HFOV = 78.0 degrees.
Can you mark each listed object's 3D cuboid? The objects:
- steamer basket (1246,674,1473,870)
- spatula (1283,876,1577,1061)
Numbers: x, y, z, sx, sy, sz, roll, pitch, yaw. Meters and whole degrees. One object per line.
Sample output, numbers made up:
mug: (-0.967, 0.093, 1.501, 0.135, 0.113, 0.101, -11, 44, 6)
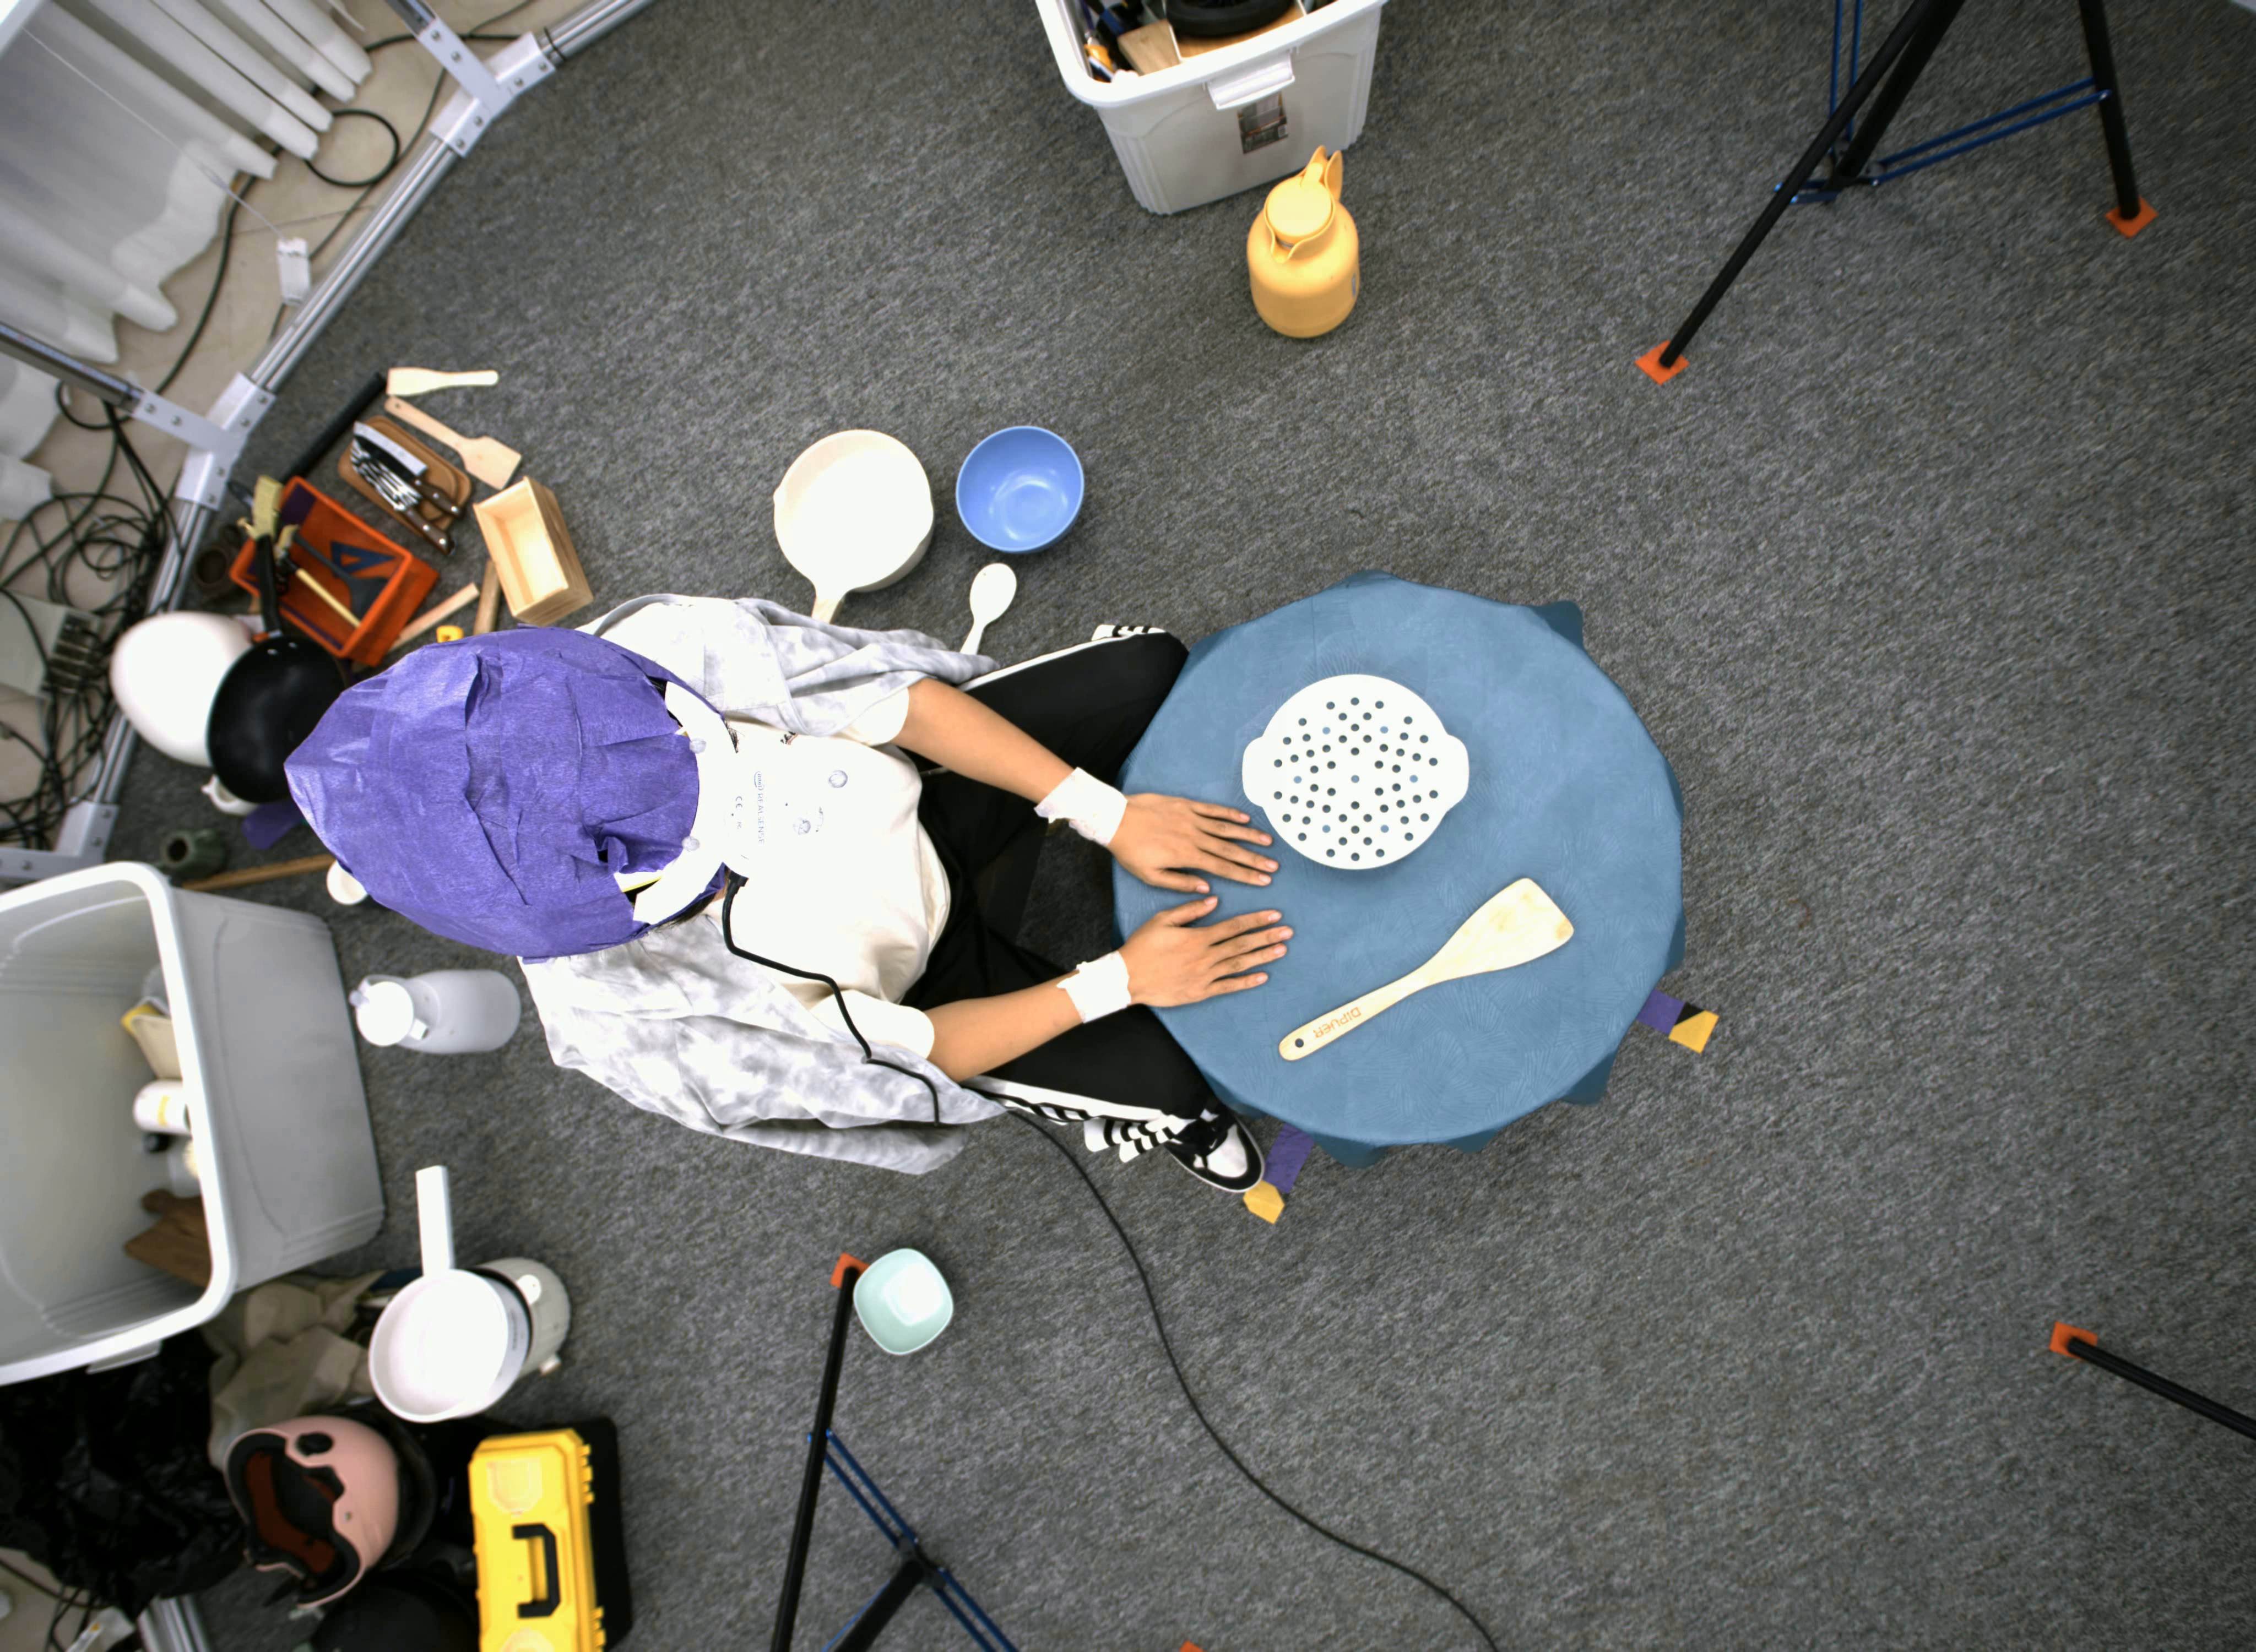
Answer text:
steamer basket: (0.241, -0.055, 1.437, 0.231, 0.069, 0.201, 0, 85, 12)
spatula: (0.304, 0.156, 1.438, 0.329, 0.016, 0.079, -30, 81, 8)
